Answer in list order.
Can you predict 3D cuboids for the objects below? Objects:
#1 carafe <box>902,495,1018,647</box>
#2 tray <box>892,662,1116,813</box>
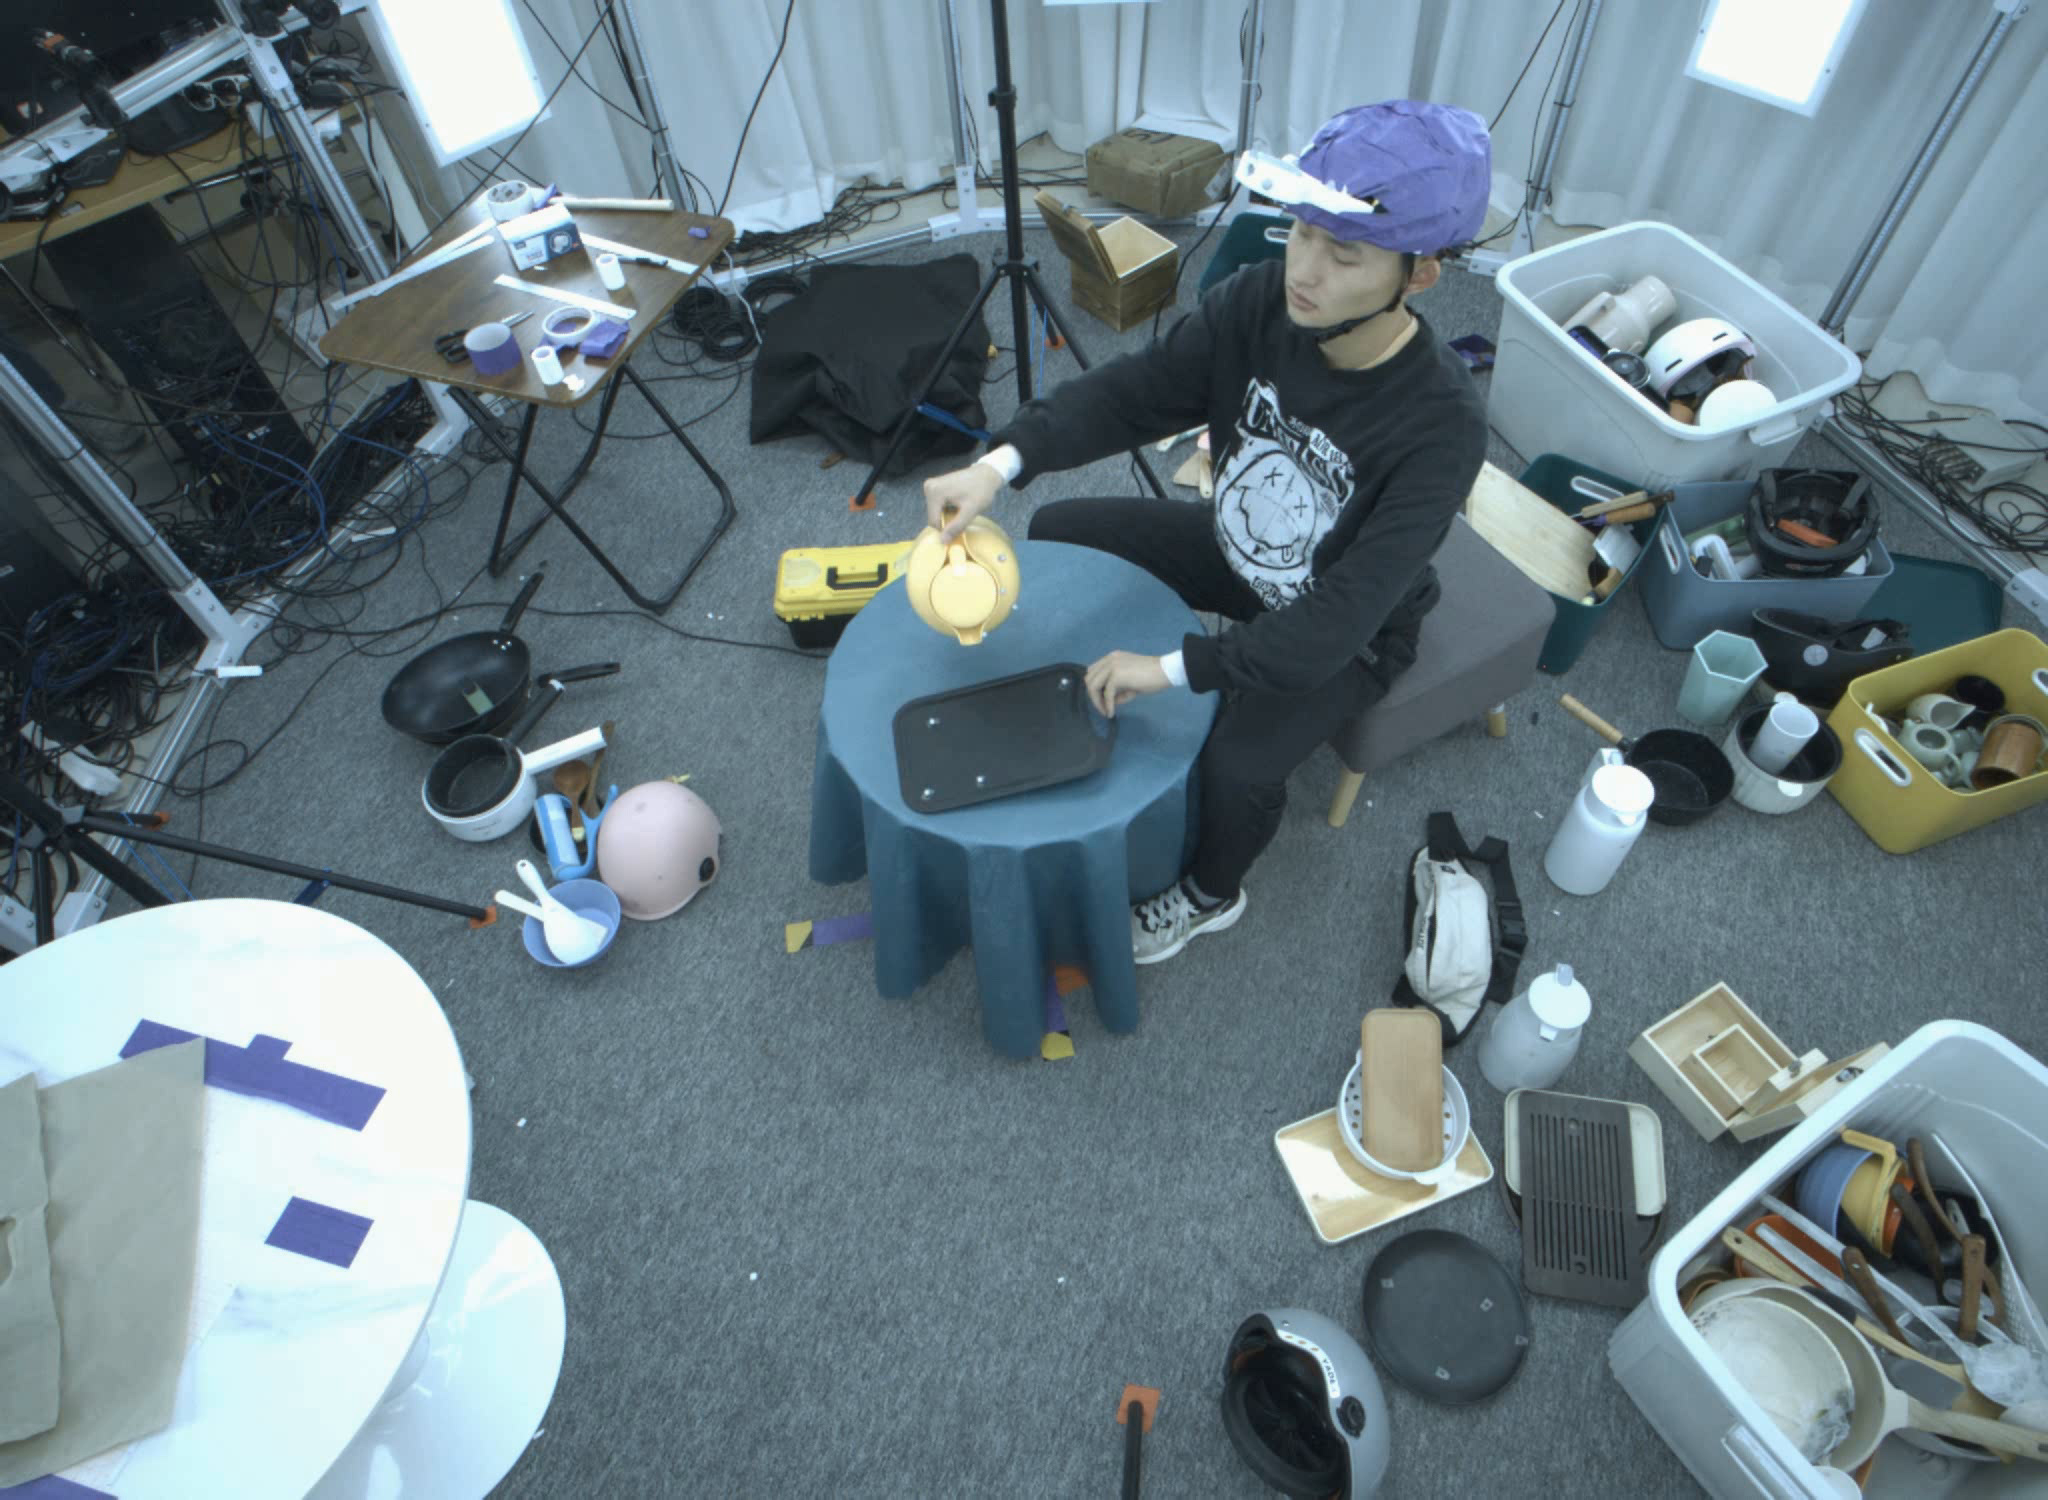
[{"bbox_3d":[-0.091,-0.259,1.715,0.164,0.204,0.257,-7,20,-5],"label":"carafe"},{"bbox_3d":[-0.029,-0.025,1.775,0.325,0.010,0.208,-13,55,1],"label":"tray"}]
